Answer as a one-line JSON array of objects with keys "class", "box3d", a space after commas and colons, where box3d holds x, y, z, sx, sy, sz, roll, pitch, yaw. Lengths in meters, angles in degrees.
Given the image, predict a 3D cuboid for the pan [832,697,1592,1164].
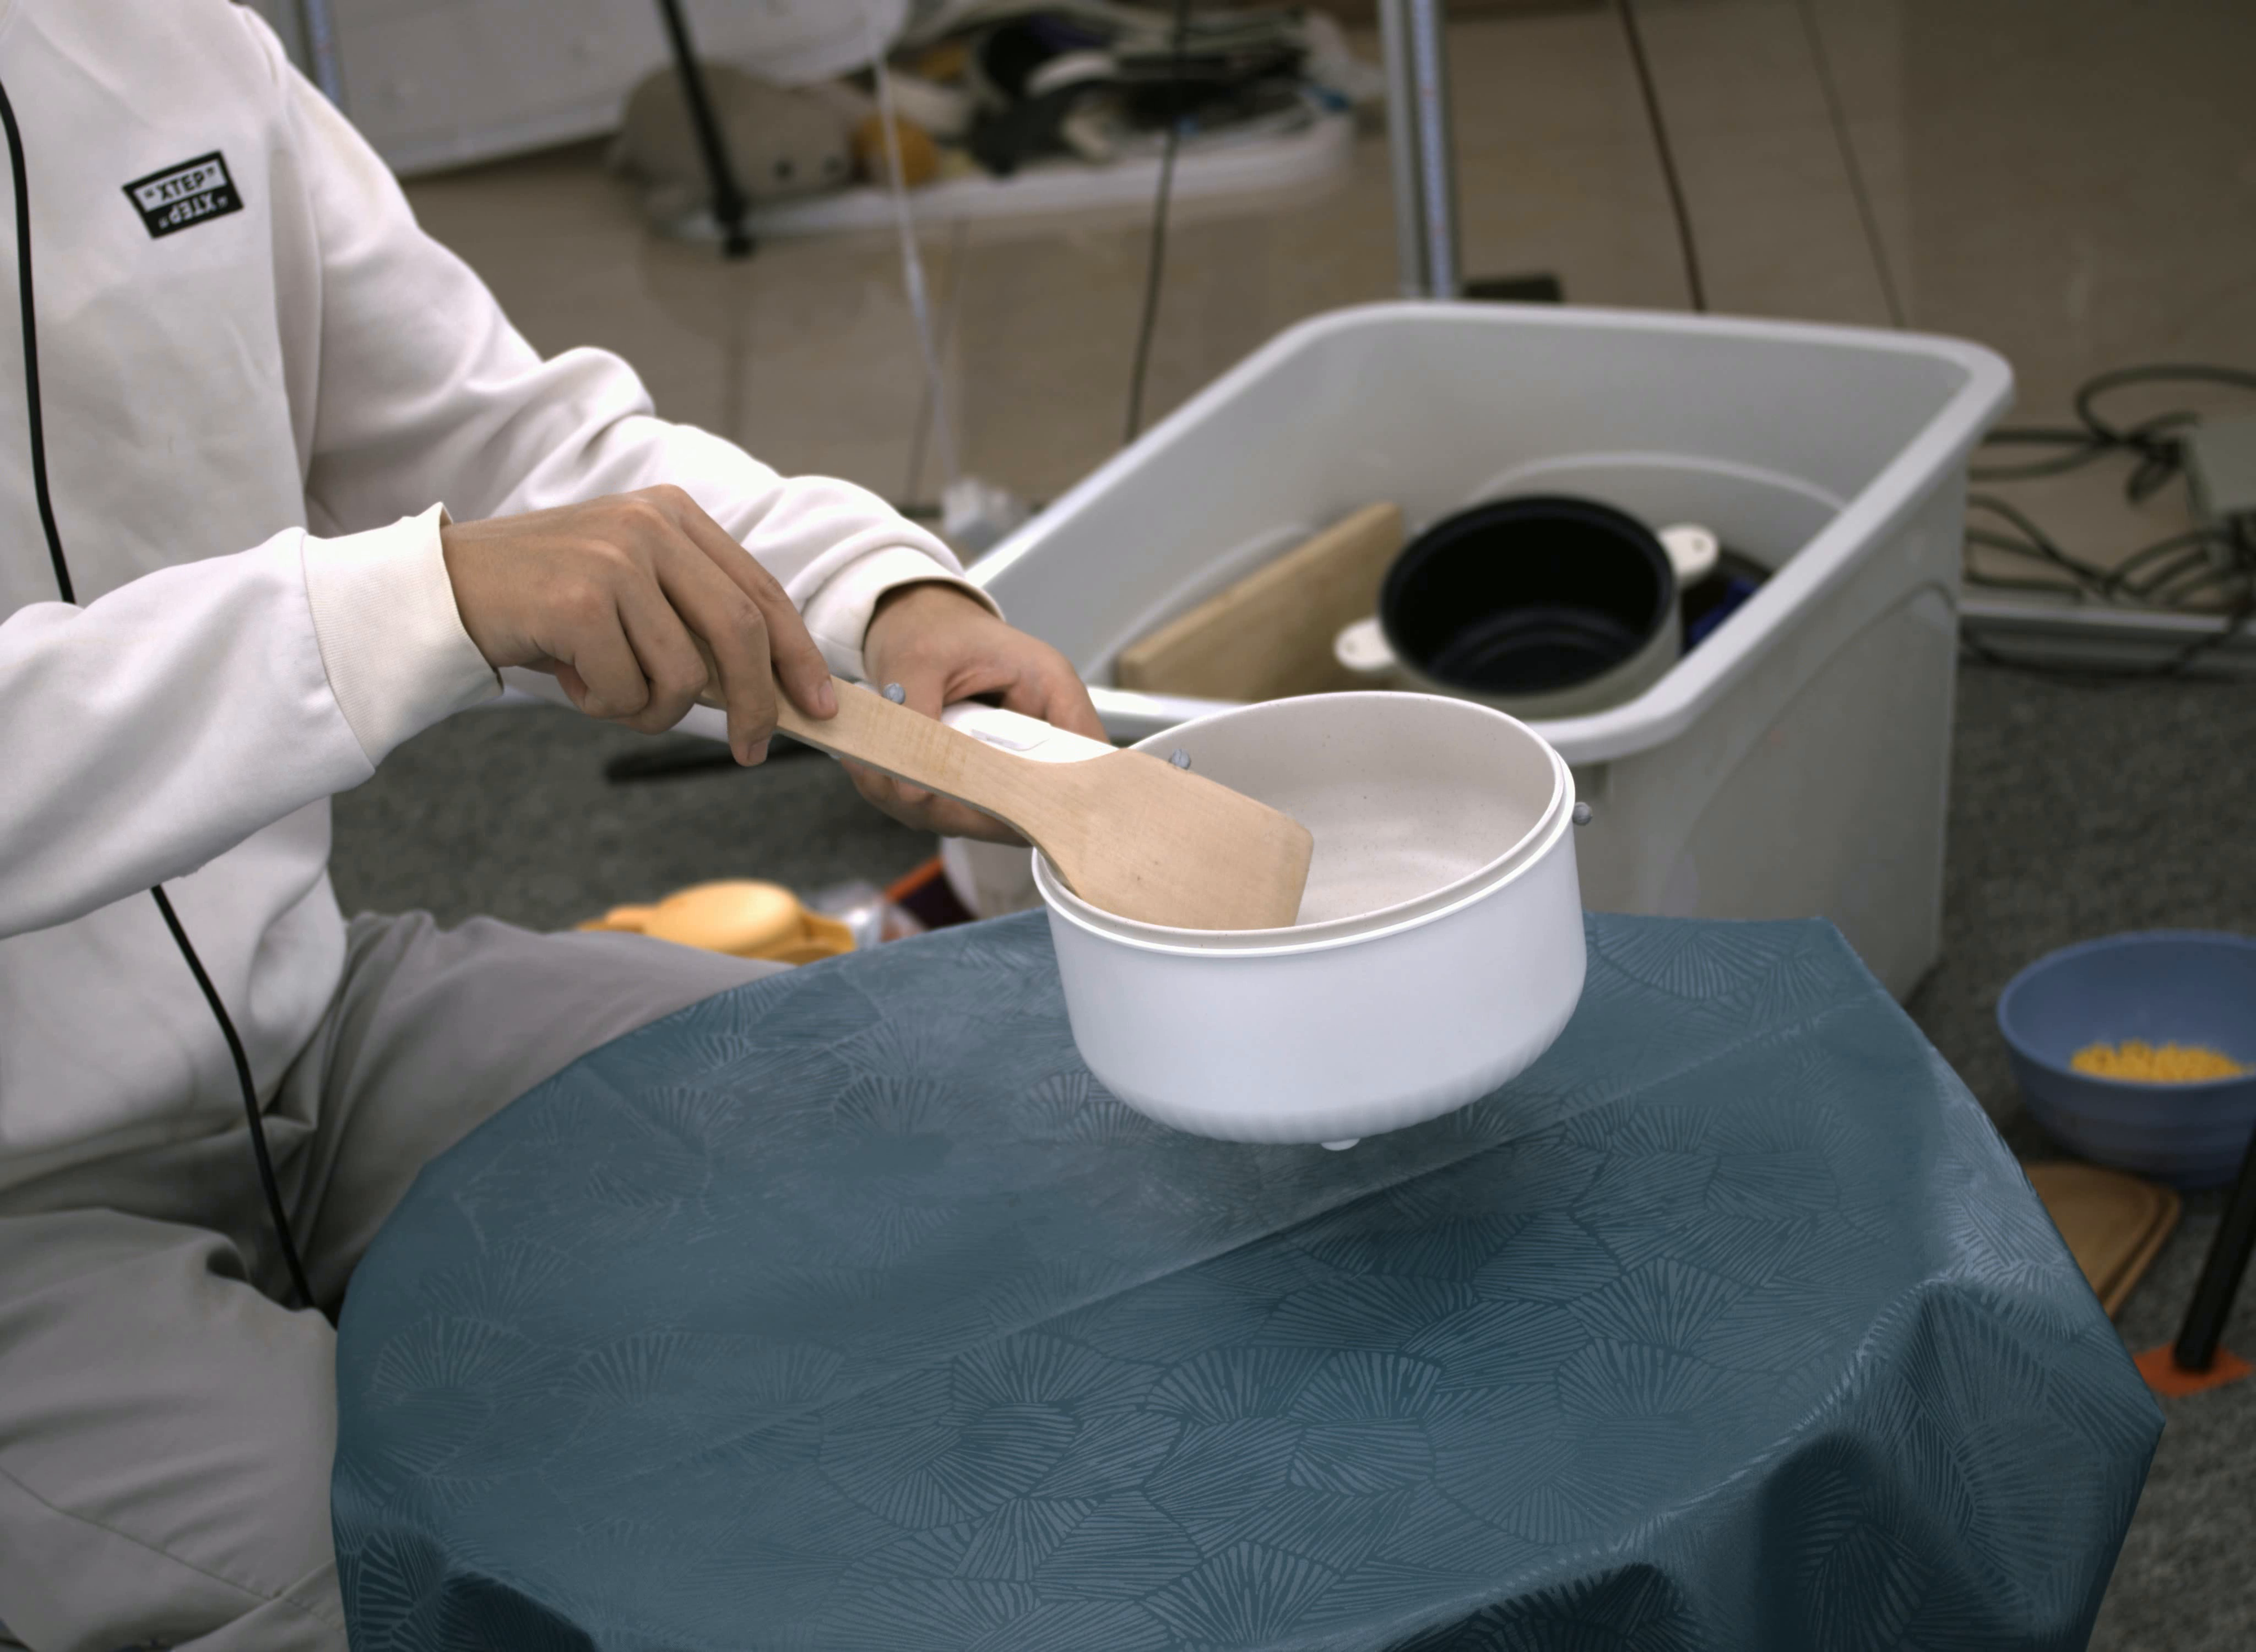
[{"class": "pan", "box3d": [0.021, 0.029, 2.157, 0.199, 0.104, 0.352, -34, 32, -33]}]
